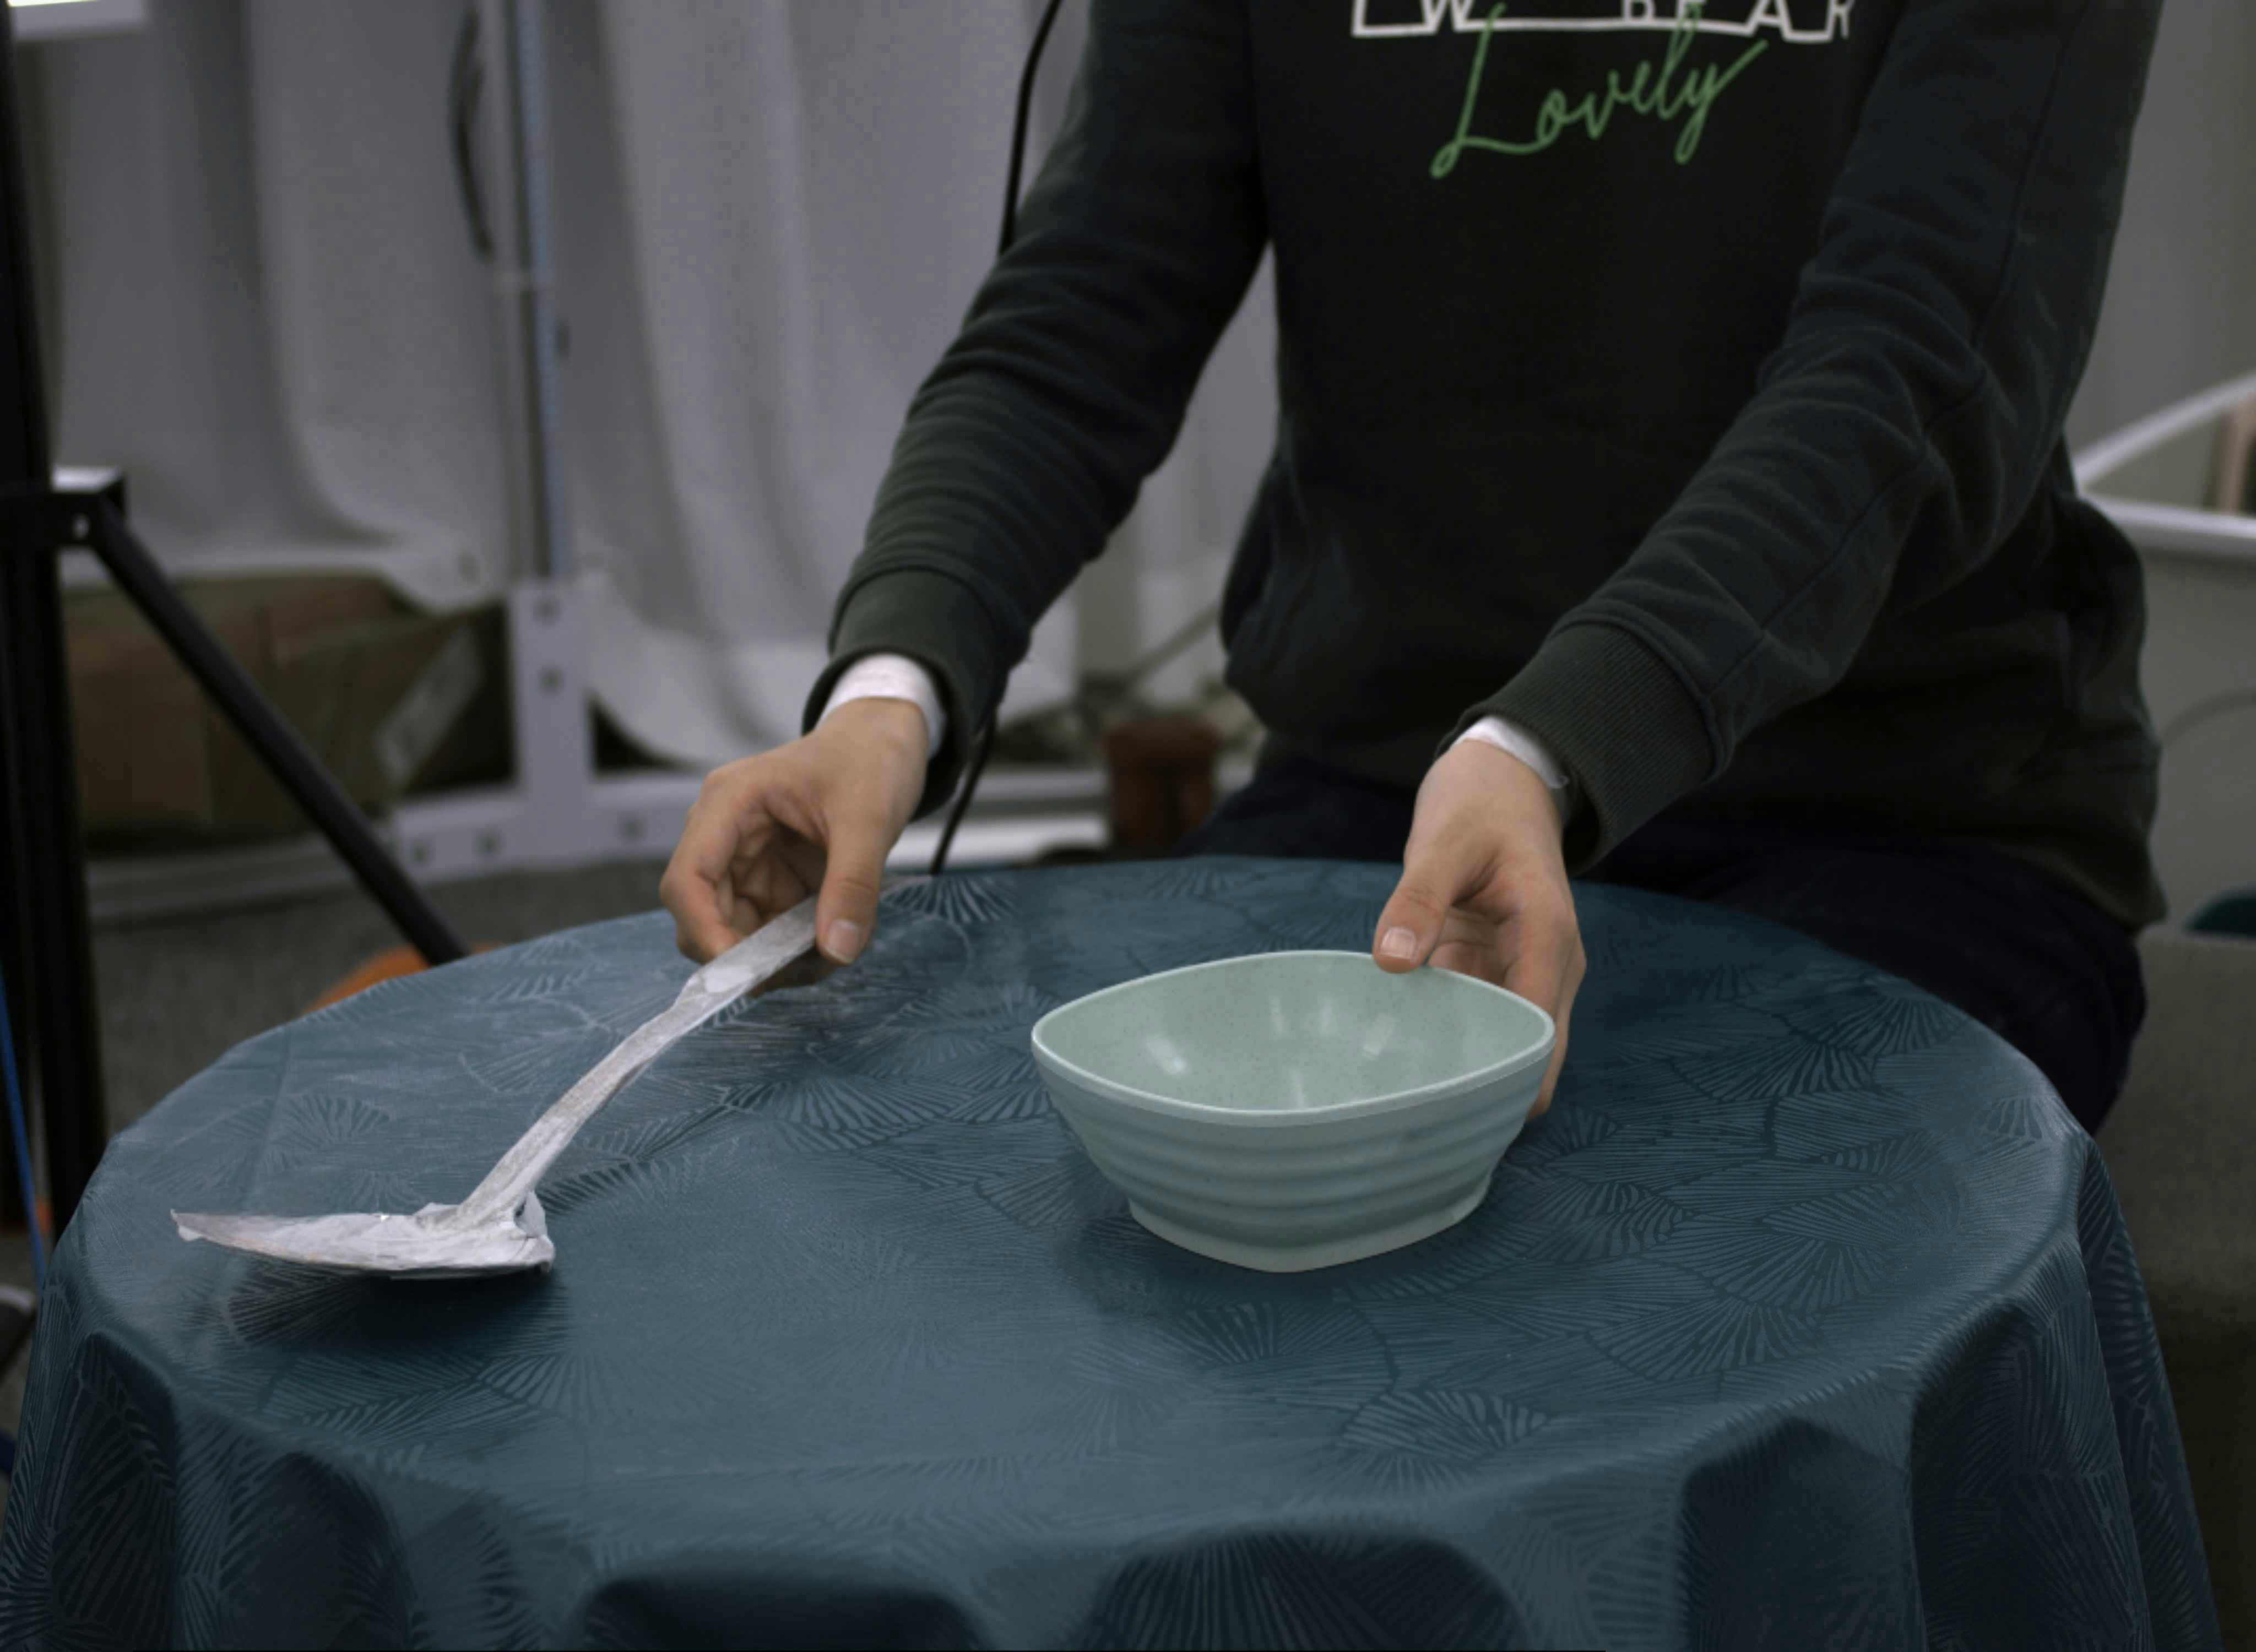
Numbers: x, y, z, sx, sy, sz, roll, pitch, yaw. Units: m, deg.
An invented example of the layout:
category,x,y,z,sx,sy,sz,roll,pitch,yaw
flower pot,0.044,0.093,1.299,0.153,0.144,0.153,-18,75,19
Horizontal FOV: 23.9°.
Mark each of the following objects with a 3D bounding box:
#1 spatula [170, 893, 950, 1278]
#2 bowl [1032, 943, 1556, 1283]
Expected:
category,x,y,z,sx,sy,sz,roll,pitch,yaw
spatula,-0.150,0.069,1.609,0.100,0.044,0.360,5,24,27
bowl,0.048,0.086,1.528,0.151,0.058,0.152,-3,18,0
